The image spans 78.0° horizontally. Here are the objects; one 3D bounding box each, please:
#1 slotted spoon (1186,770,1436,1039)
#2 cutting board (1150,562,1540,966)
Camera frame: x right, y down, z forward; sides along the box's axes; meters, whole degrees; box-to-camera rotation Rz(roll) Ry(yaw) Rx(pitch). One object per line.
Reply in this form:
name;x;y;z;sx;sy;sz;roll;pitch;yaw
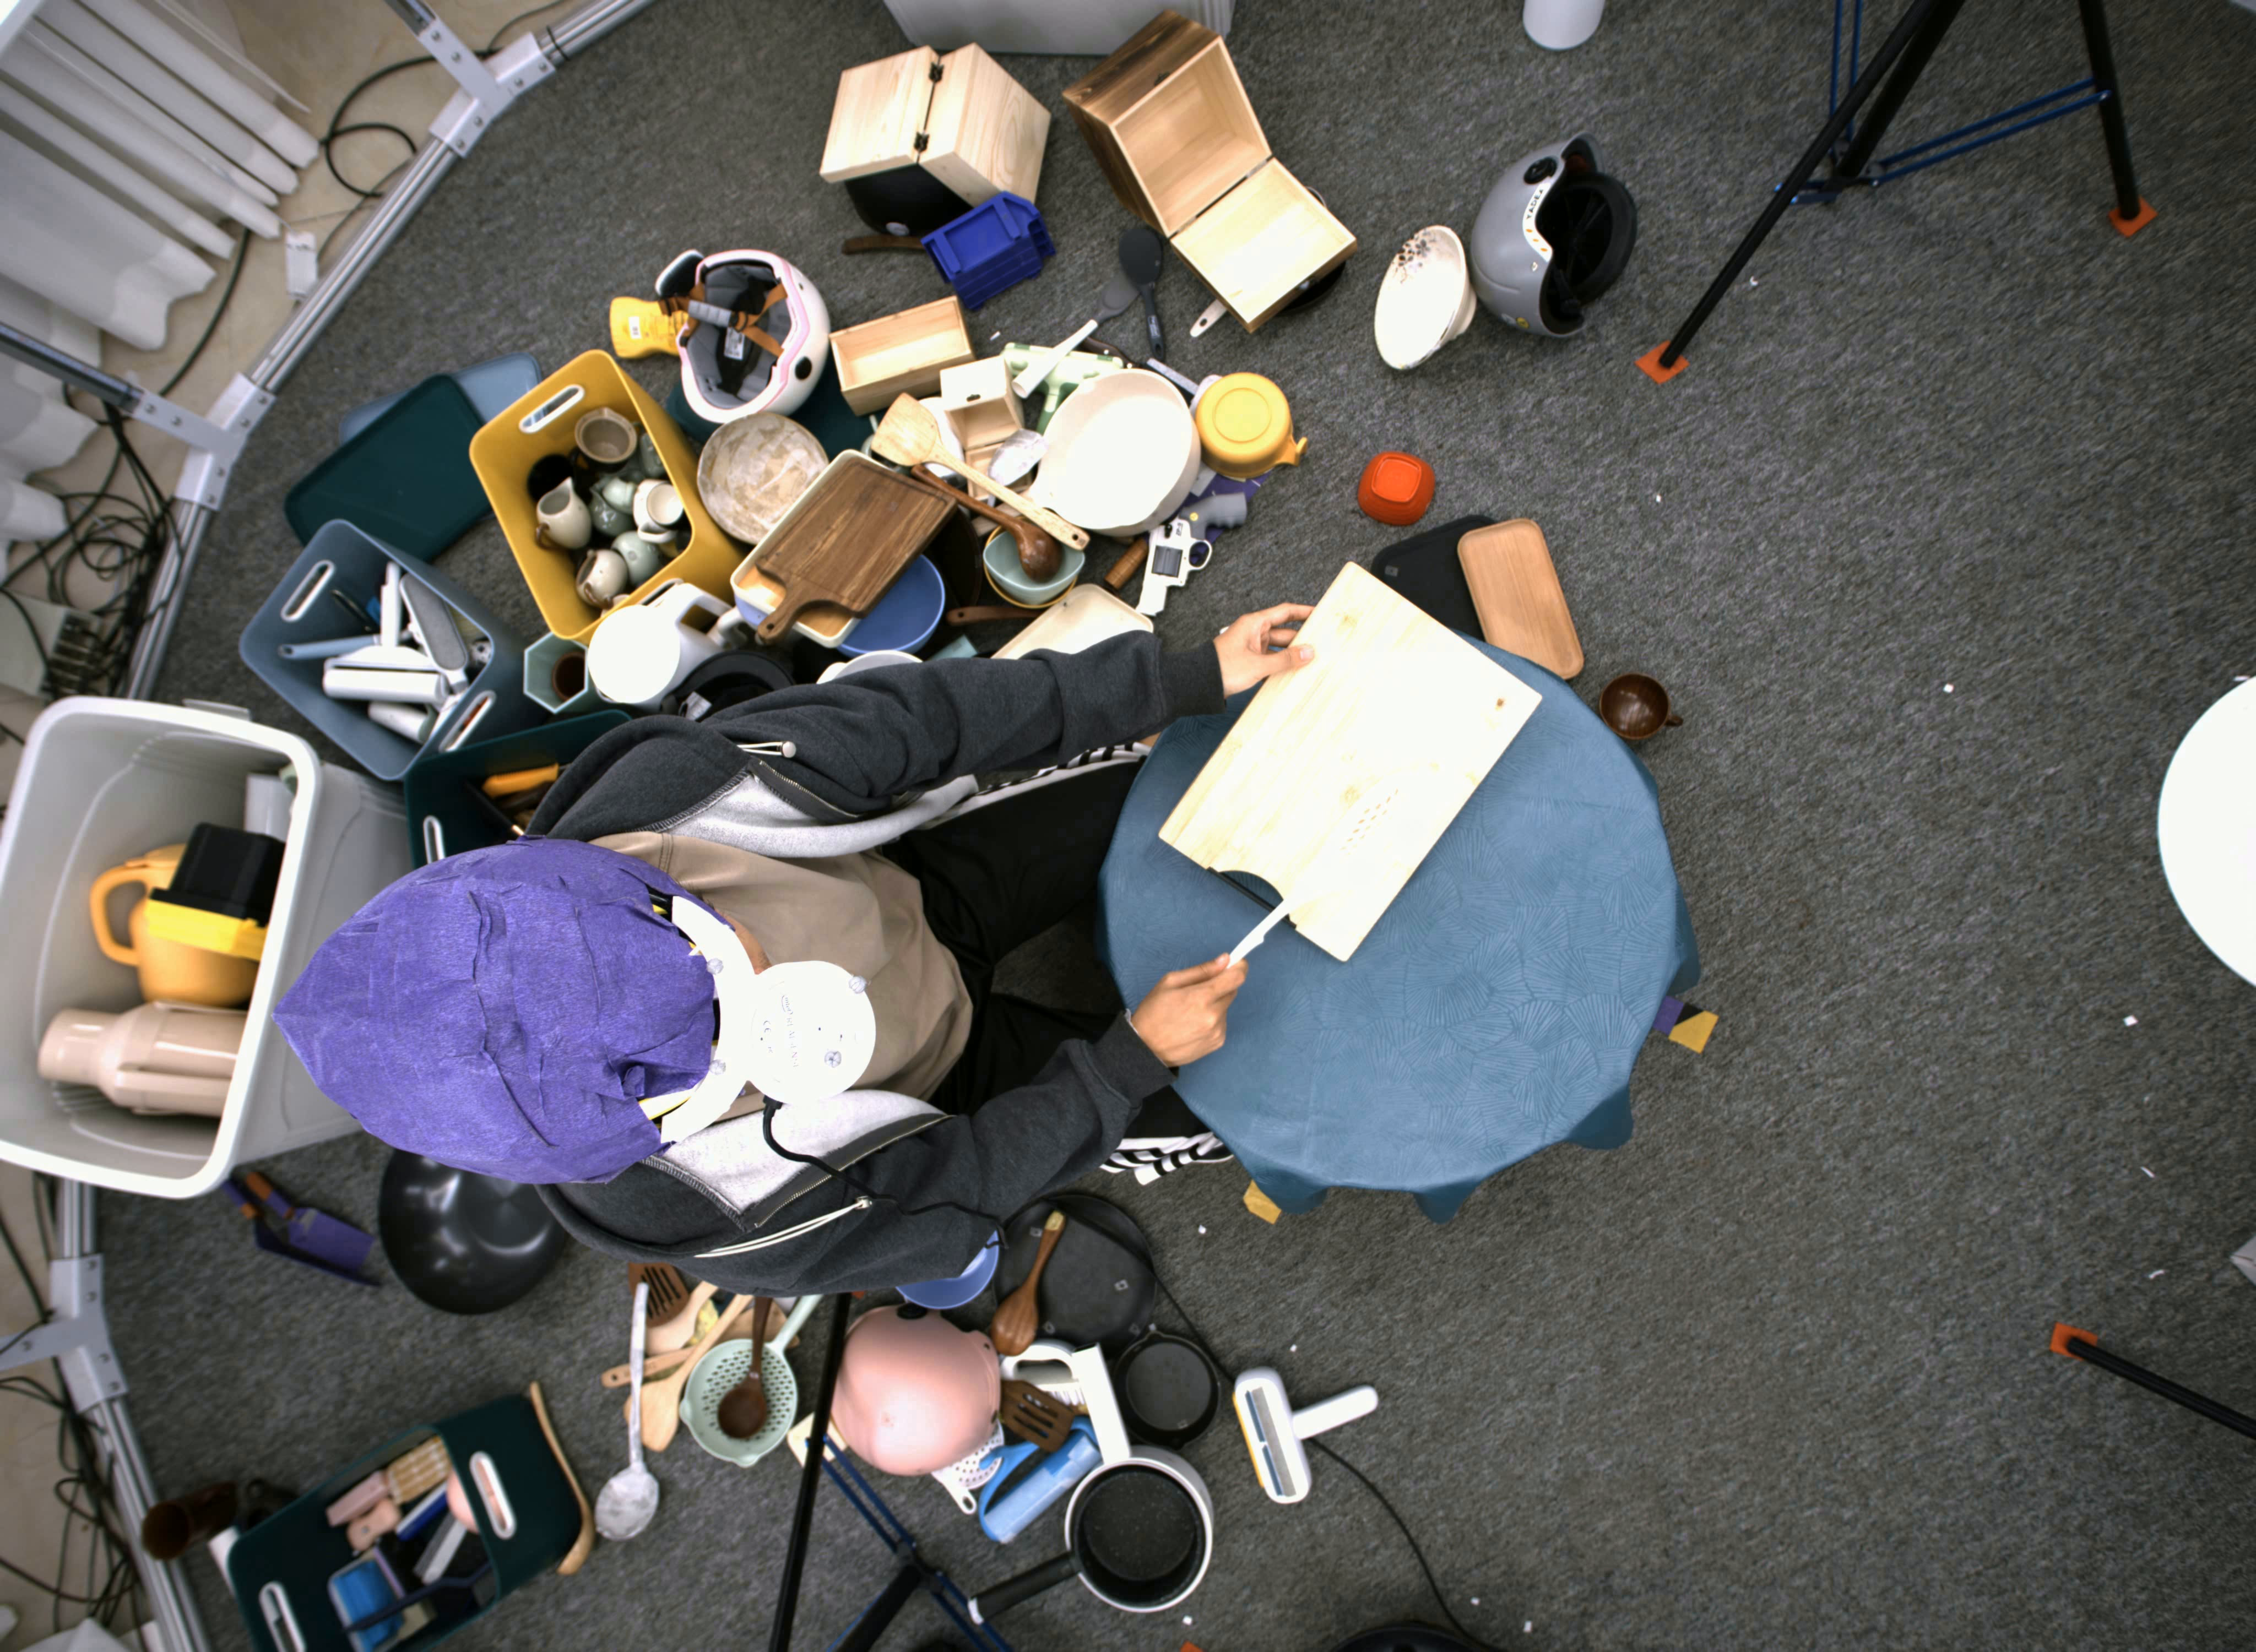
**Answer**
slotted spoon;0.173;0.078;1.361;0.350;0.135;0.051;-41;110;6
cutting board;0.220;-0.059;1.409;0.251;0.023;0.352;33;103;-5
